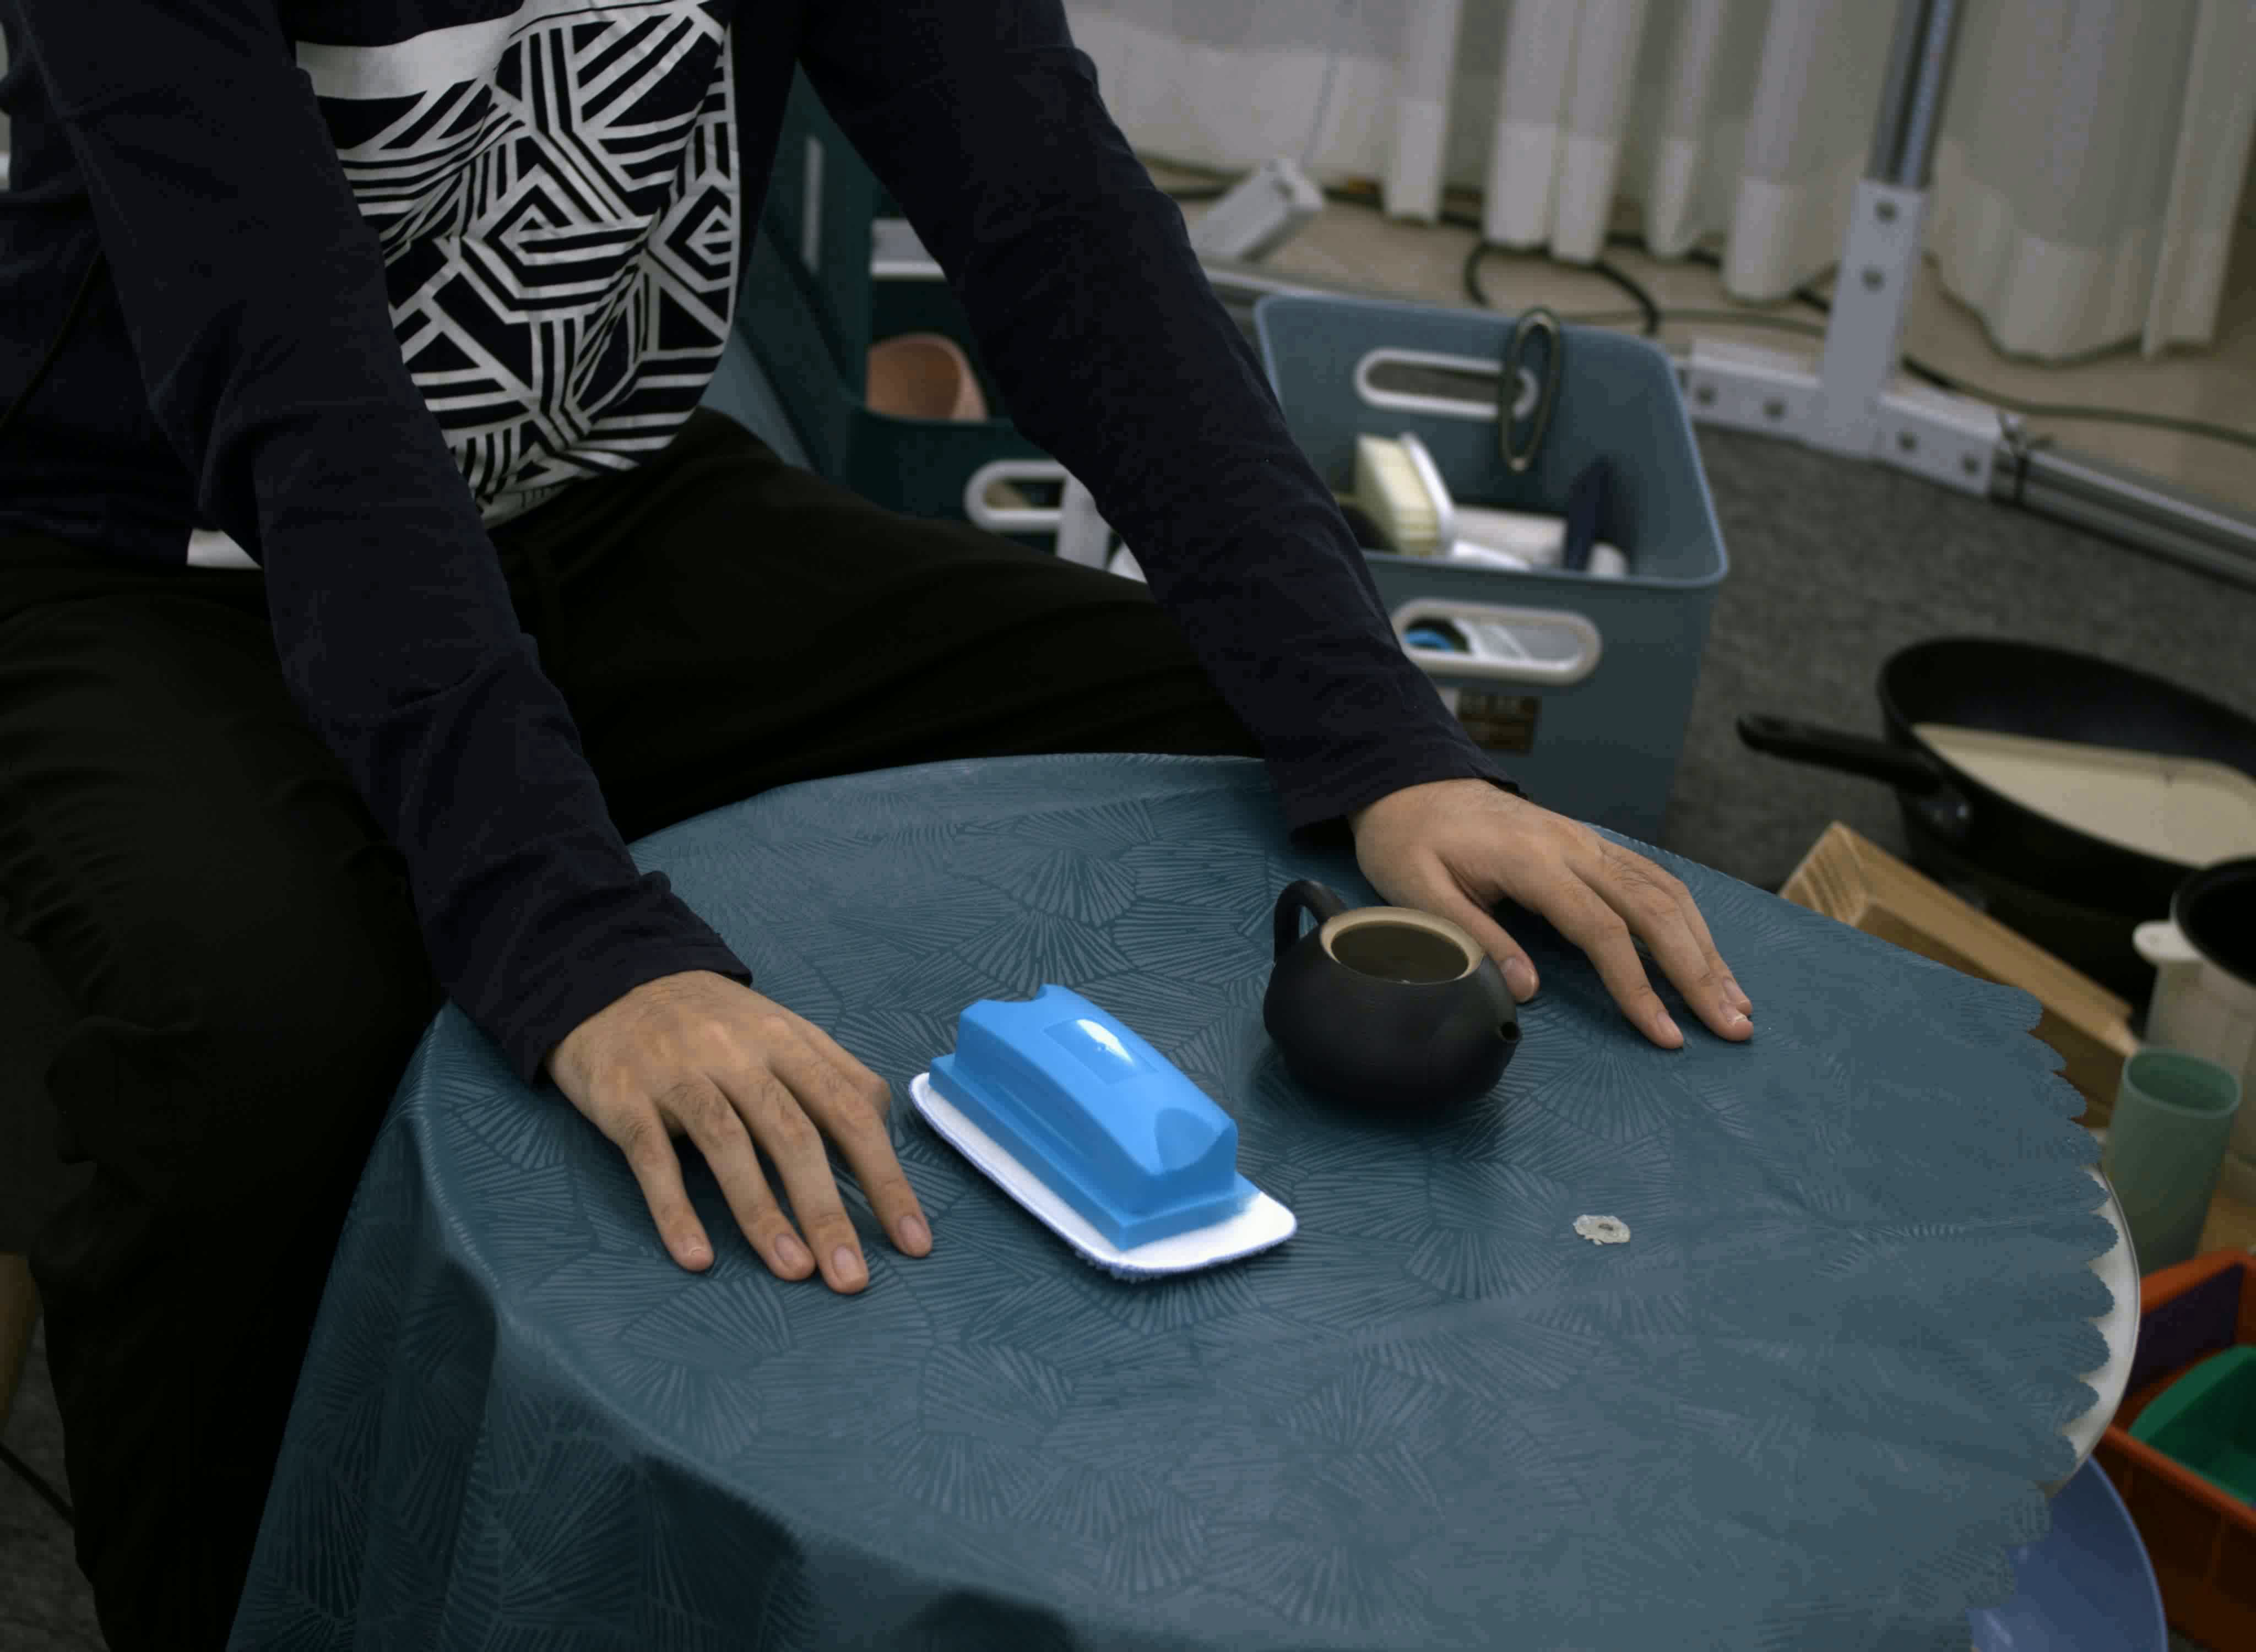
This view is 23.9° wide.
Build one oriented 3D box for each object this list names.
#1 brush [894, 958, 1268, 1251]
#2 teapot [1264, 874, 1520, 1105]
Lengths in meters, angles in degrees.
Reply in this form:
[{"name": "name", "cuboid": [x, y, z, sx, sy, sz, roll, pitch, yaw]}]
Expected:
[{"name": "brush", "cuboid": [-0.013, 0.090, 1.802, 0.083, 0.056, 0.145, -7, 33, -33]}, {"name": "teapot", "cuboid": [0.093, 0.063, 1.884, 0.090, 0.053, 0.134, -11, 33, -33]}]
